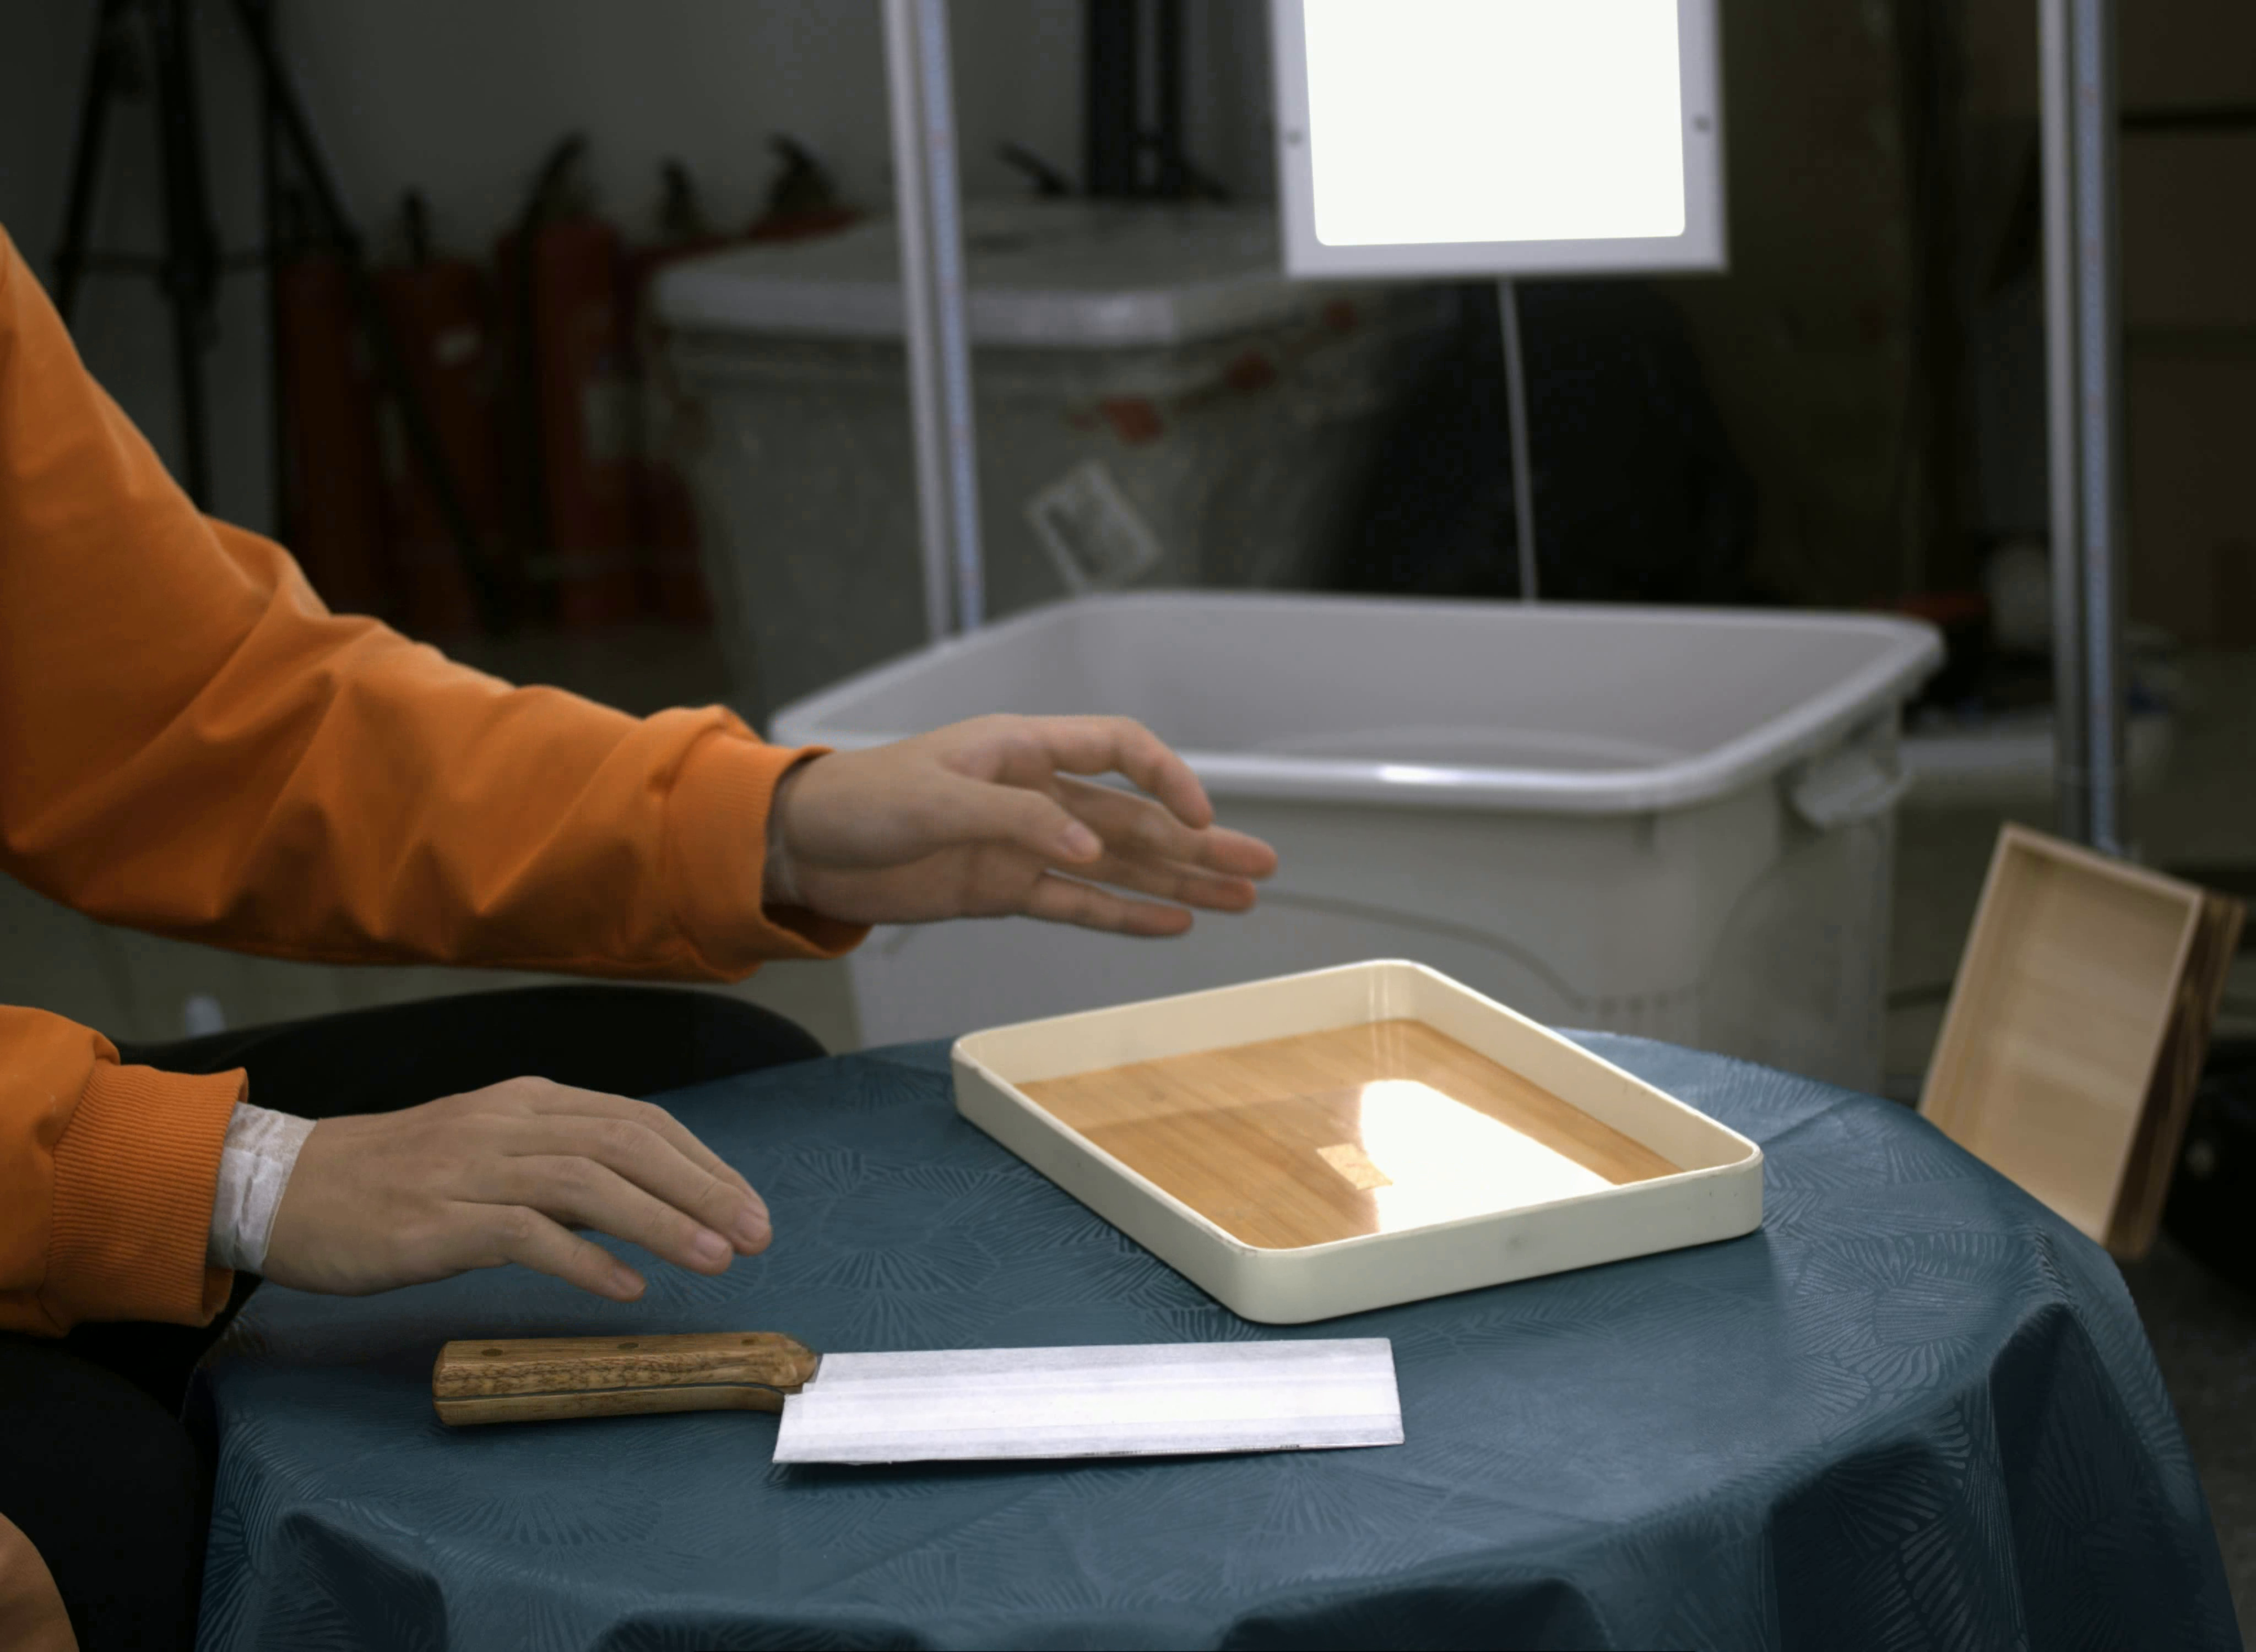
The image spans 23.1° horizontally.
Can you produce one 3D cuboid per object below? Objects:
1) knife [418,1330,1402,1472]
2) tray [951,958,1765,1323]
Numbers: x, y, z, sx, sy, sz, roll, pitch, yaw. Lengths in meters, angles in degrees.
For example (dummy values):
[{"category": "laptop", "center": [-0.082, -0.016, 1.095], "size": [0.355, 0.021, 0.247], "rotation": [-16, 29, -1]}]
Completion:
[{"category": "knife", "center": [-0.069, 0.177, 1.687], "size": [0.305, 0.021, 0.092], "rotation": [-2, 15, 3]}, {"category": "tray", "center": [0.074, 0.105, 1.902], "size": [0.188, 0.027, 0.304], "rotation": [-10, 15, -19]}]
